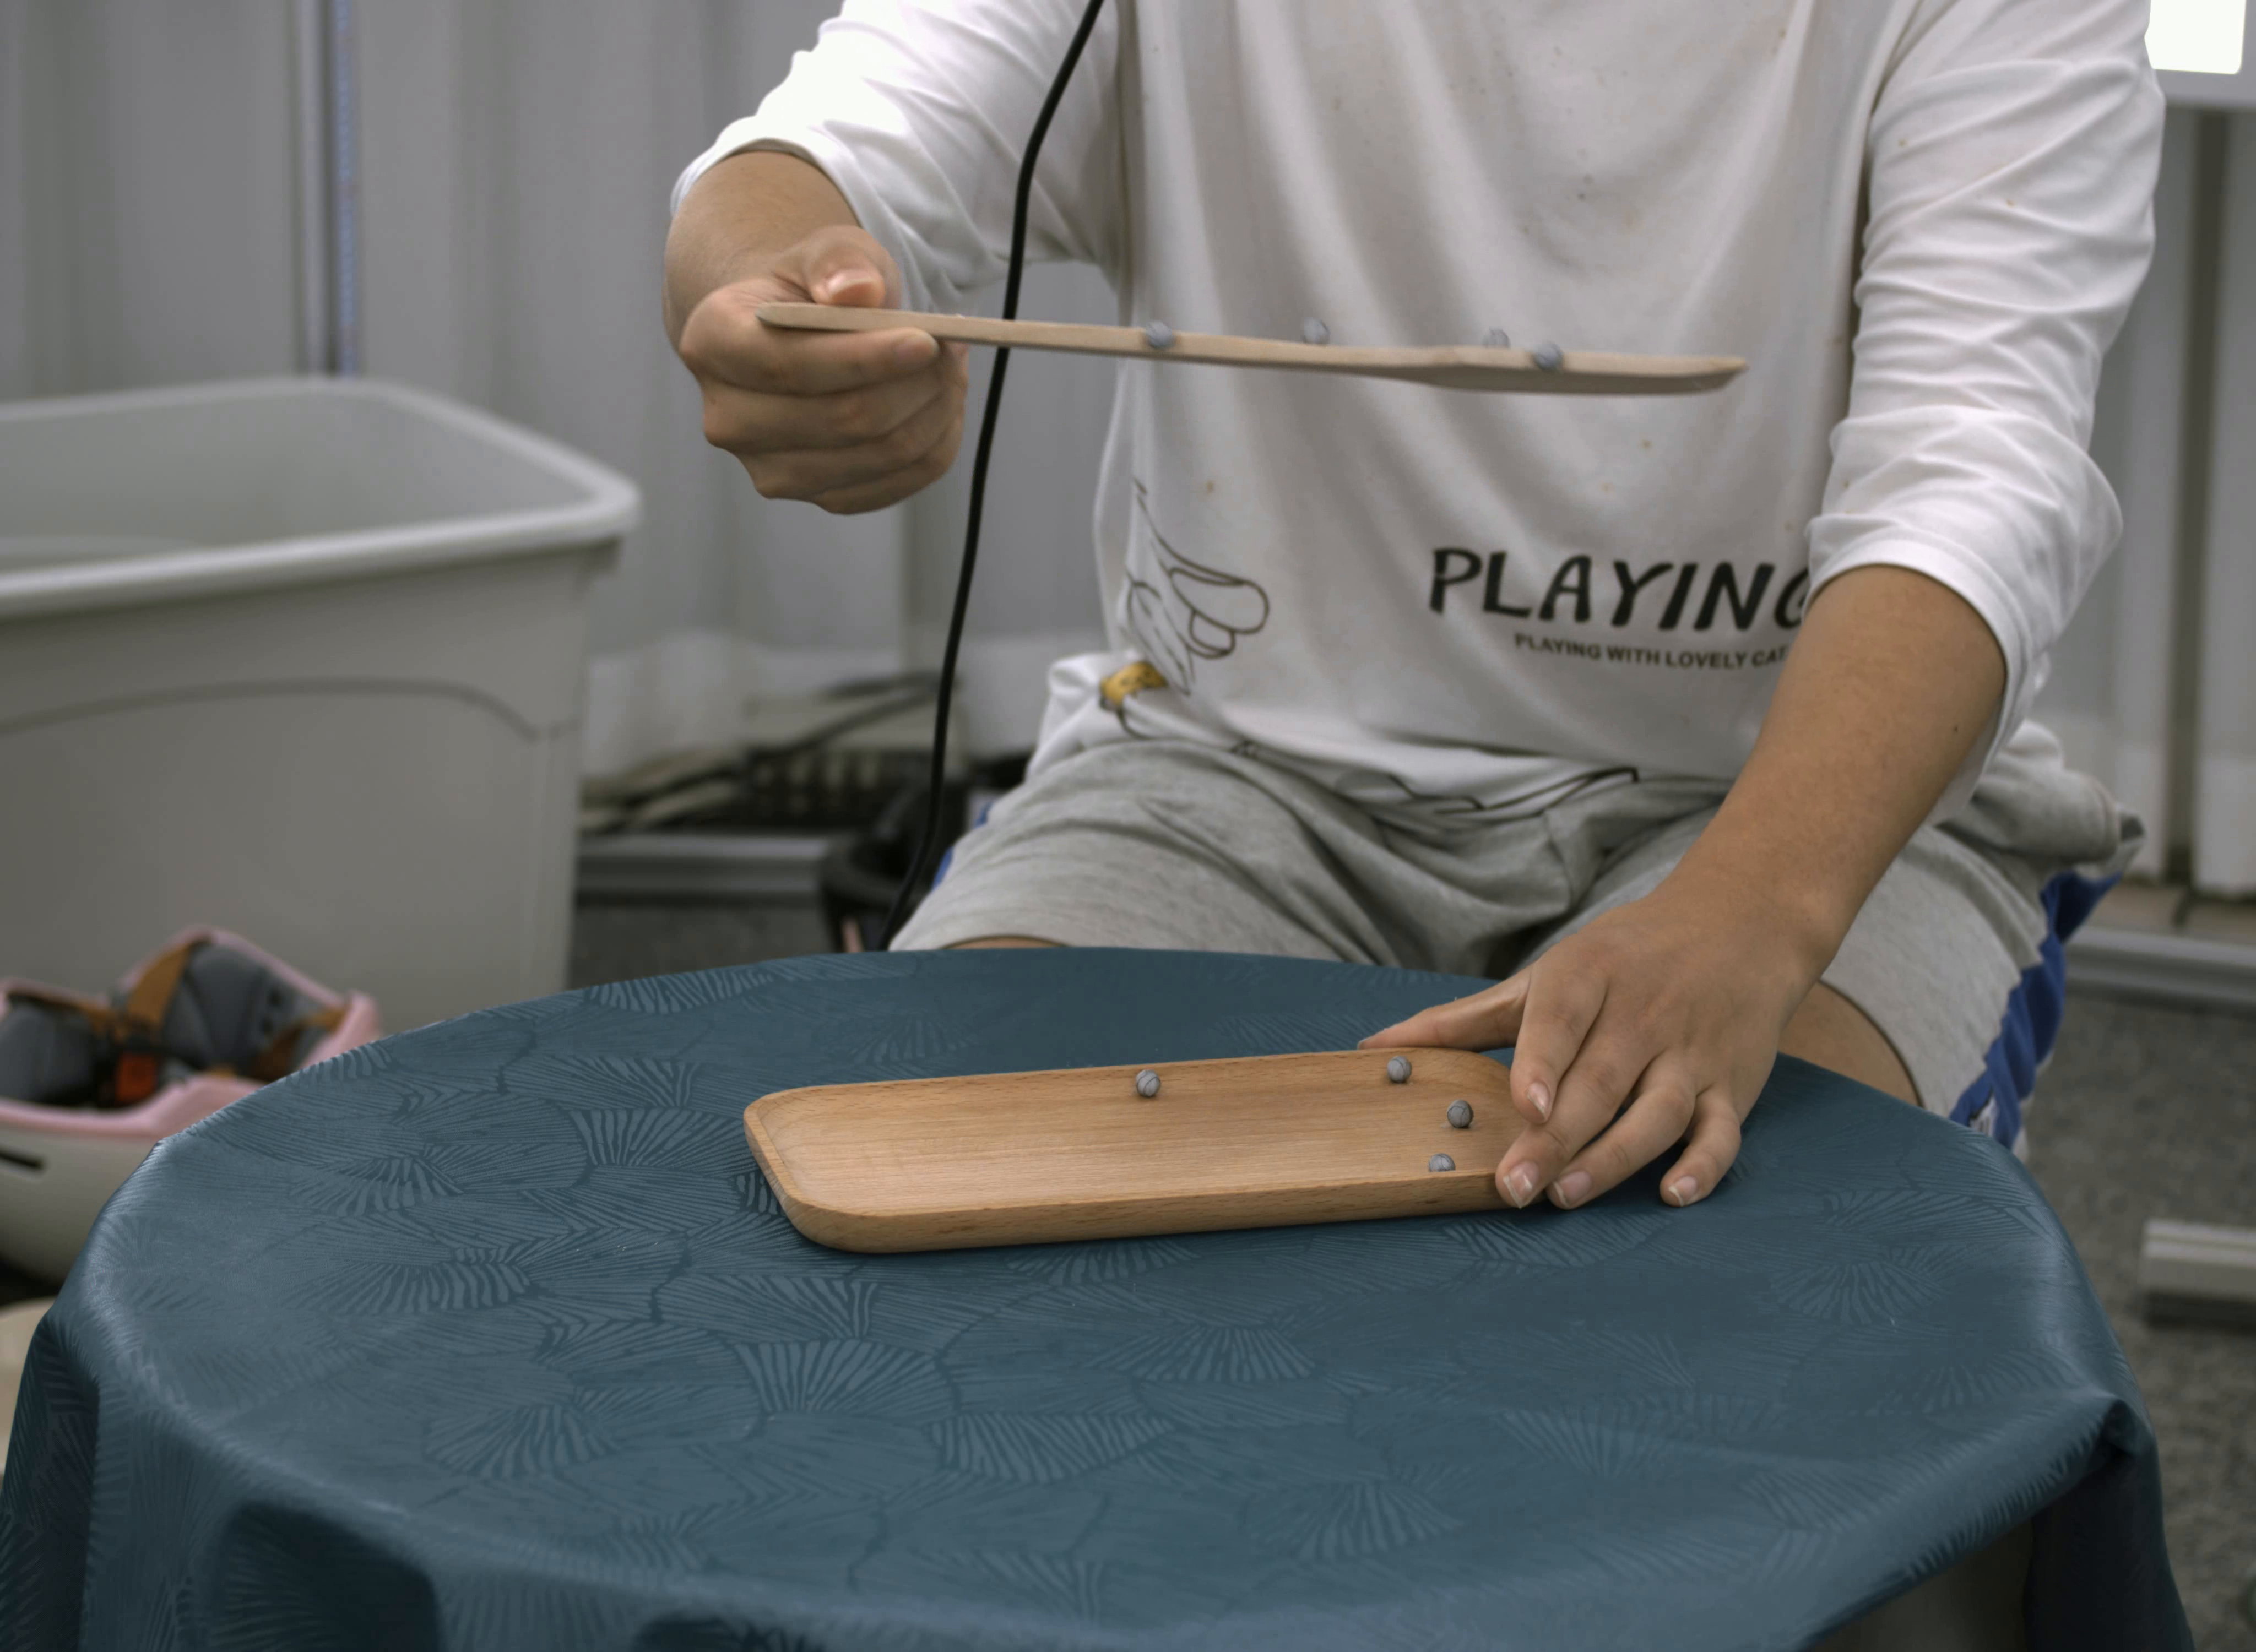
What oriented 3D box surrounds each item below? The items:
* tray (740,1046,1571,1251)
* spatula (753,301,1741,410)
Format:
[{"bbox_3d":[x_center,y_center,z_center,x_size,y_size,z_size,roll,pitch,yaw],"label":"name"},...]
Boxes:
[{"bbox_3d":[0.008,0.100,1.647,0.251,0.023,0.129,-3,13,-13],"label":"tray"},{"bbox_3d":[0.034,-0.140,1.562,0.292,0.011,0.072,5,0,-3],"label":"spatula"}]
